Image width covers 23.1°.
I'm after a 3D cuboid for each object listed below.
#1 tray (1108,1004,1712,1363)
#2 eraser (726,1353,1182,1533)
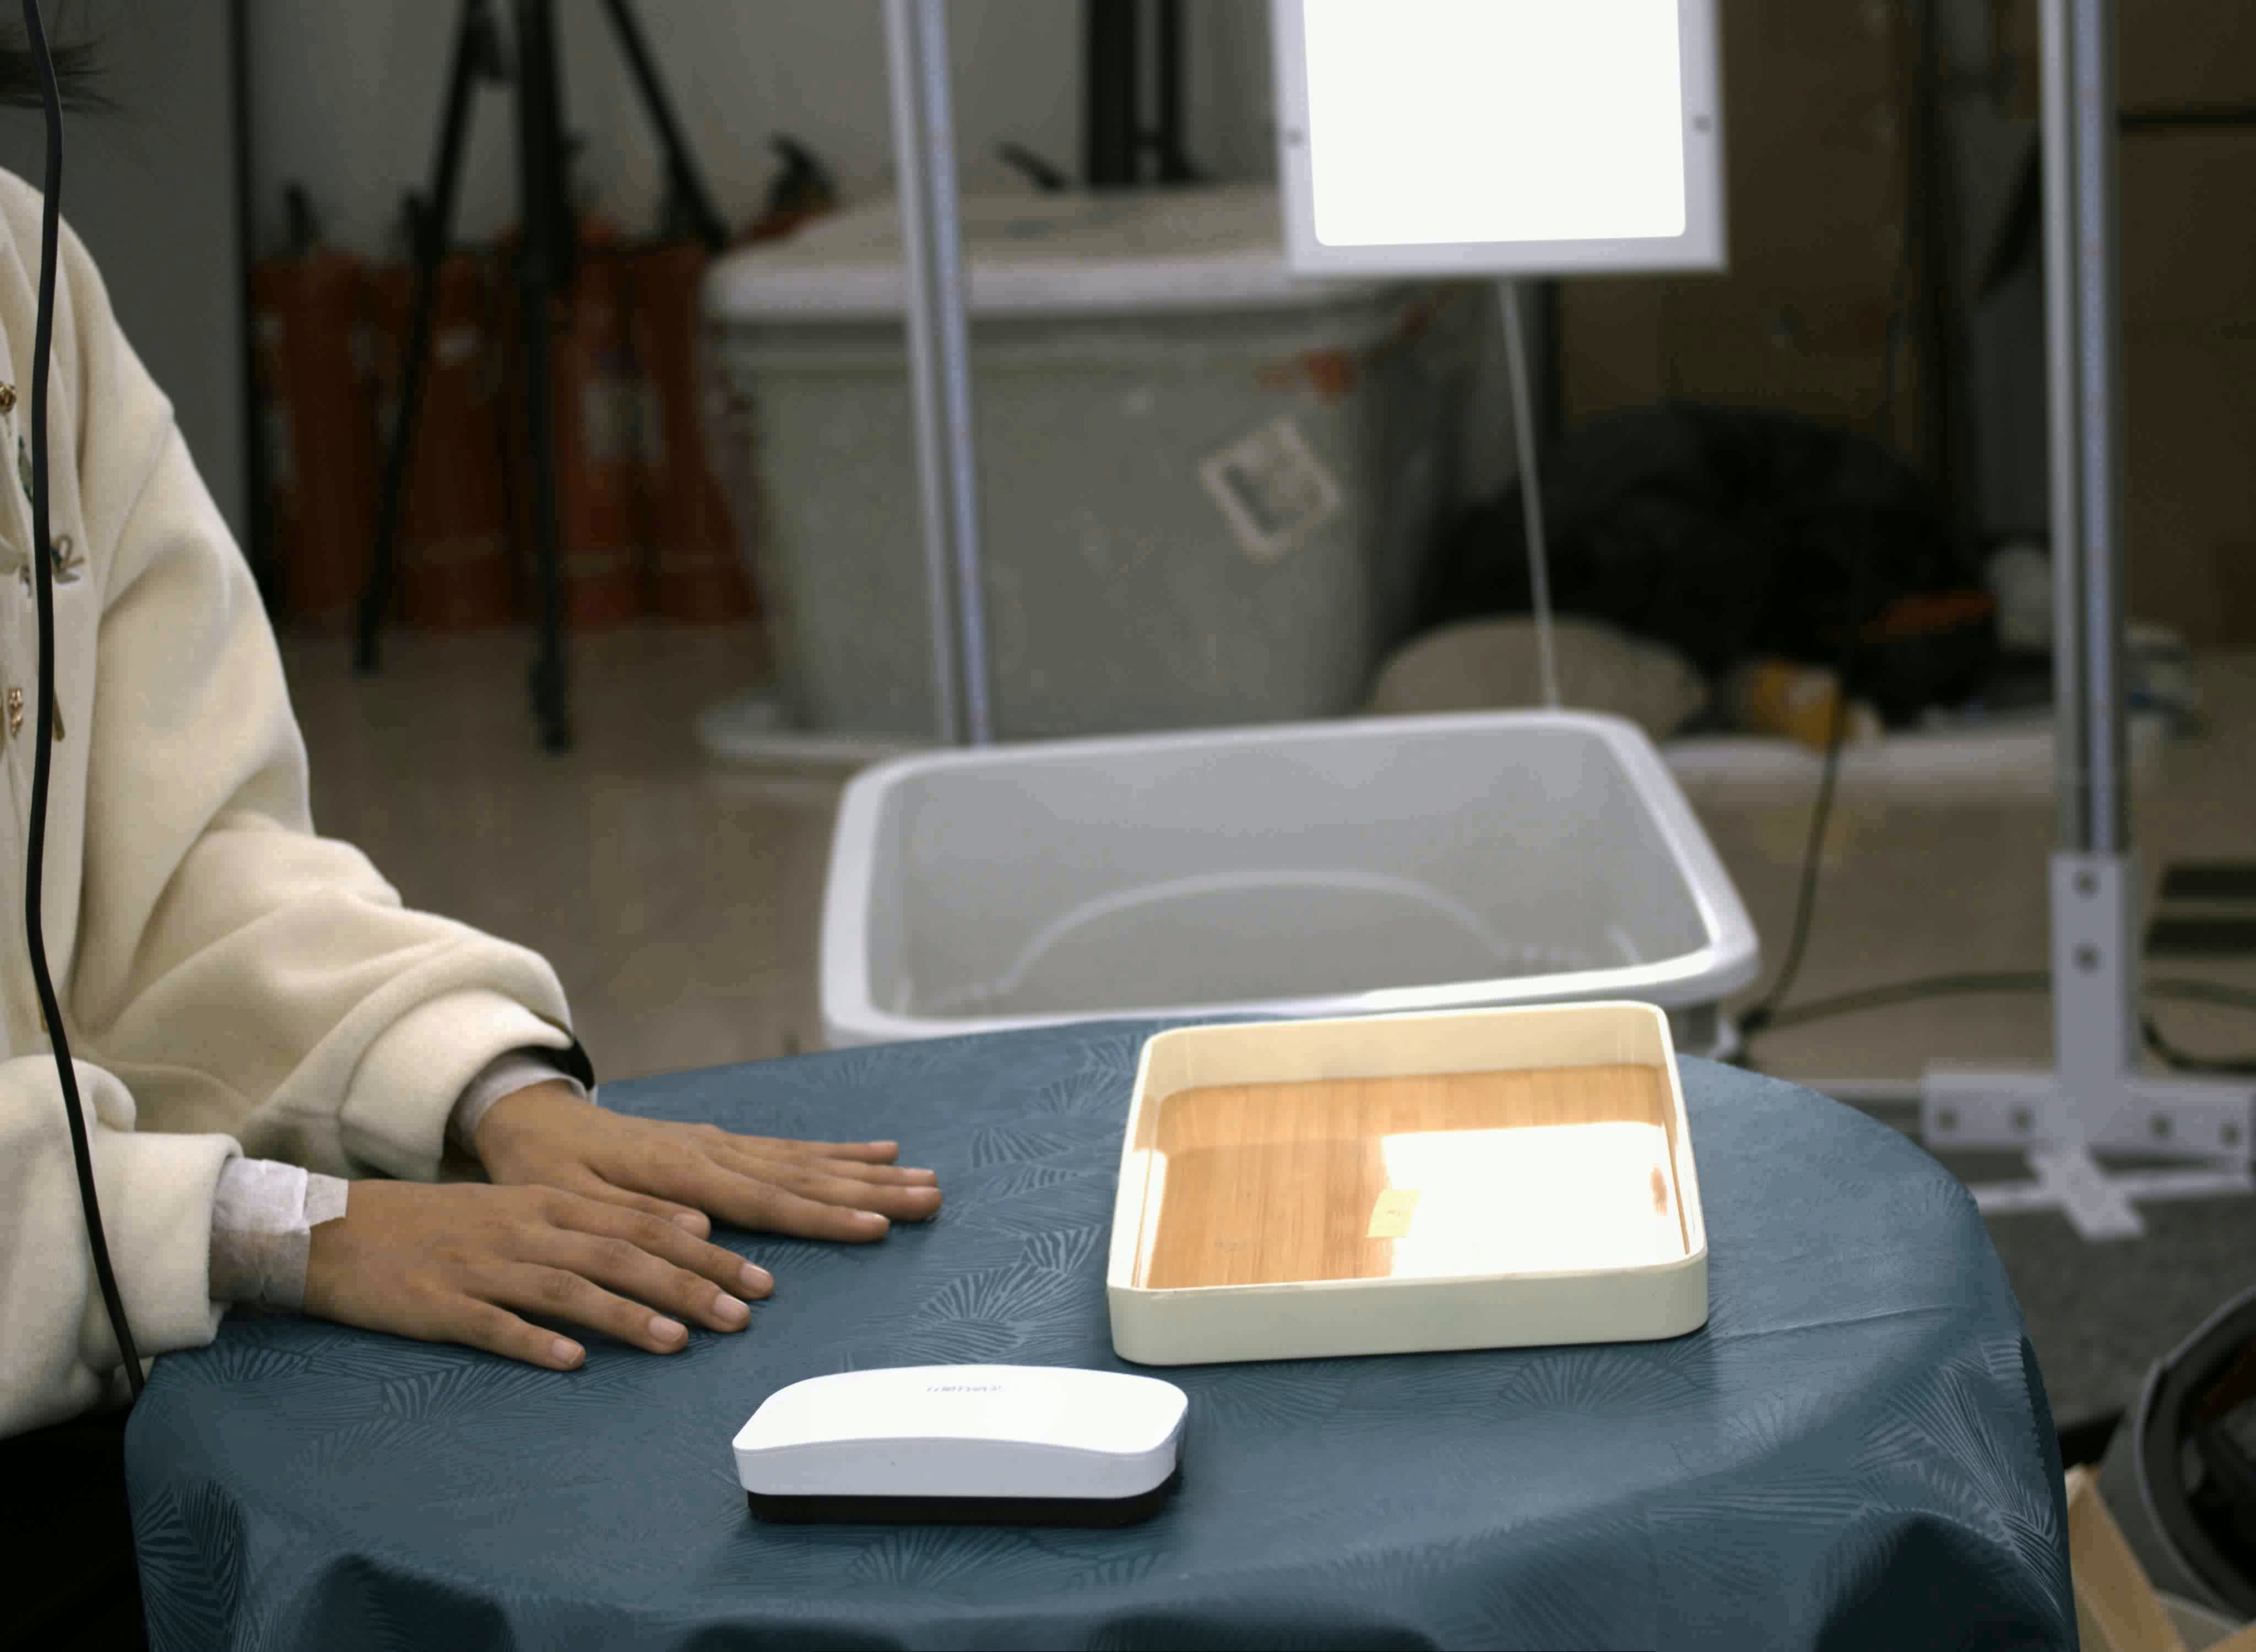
[{"bbox_3d":[0.095,0.117,1.847,0.192,0.027,0.298,-4,14,5],"label":"tray"},{"bbox_3d":[-0.050,0.182,1.625,0.132,0.034,0.062,0,14,17],"label":"eraser"}]
